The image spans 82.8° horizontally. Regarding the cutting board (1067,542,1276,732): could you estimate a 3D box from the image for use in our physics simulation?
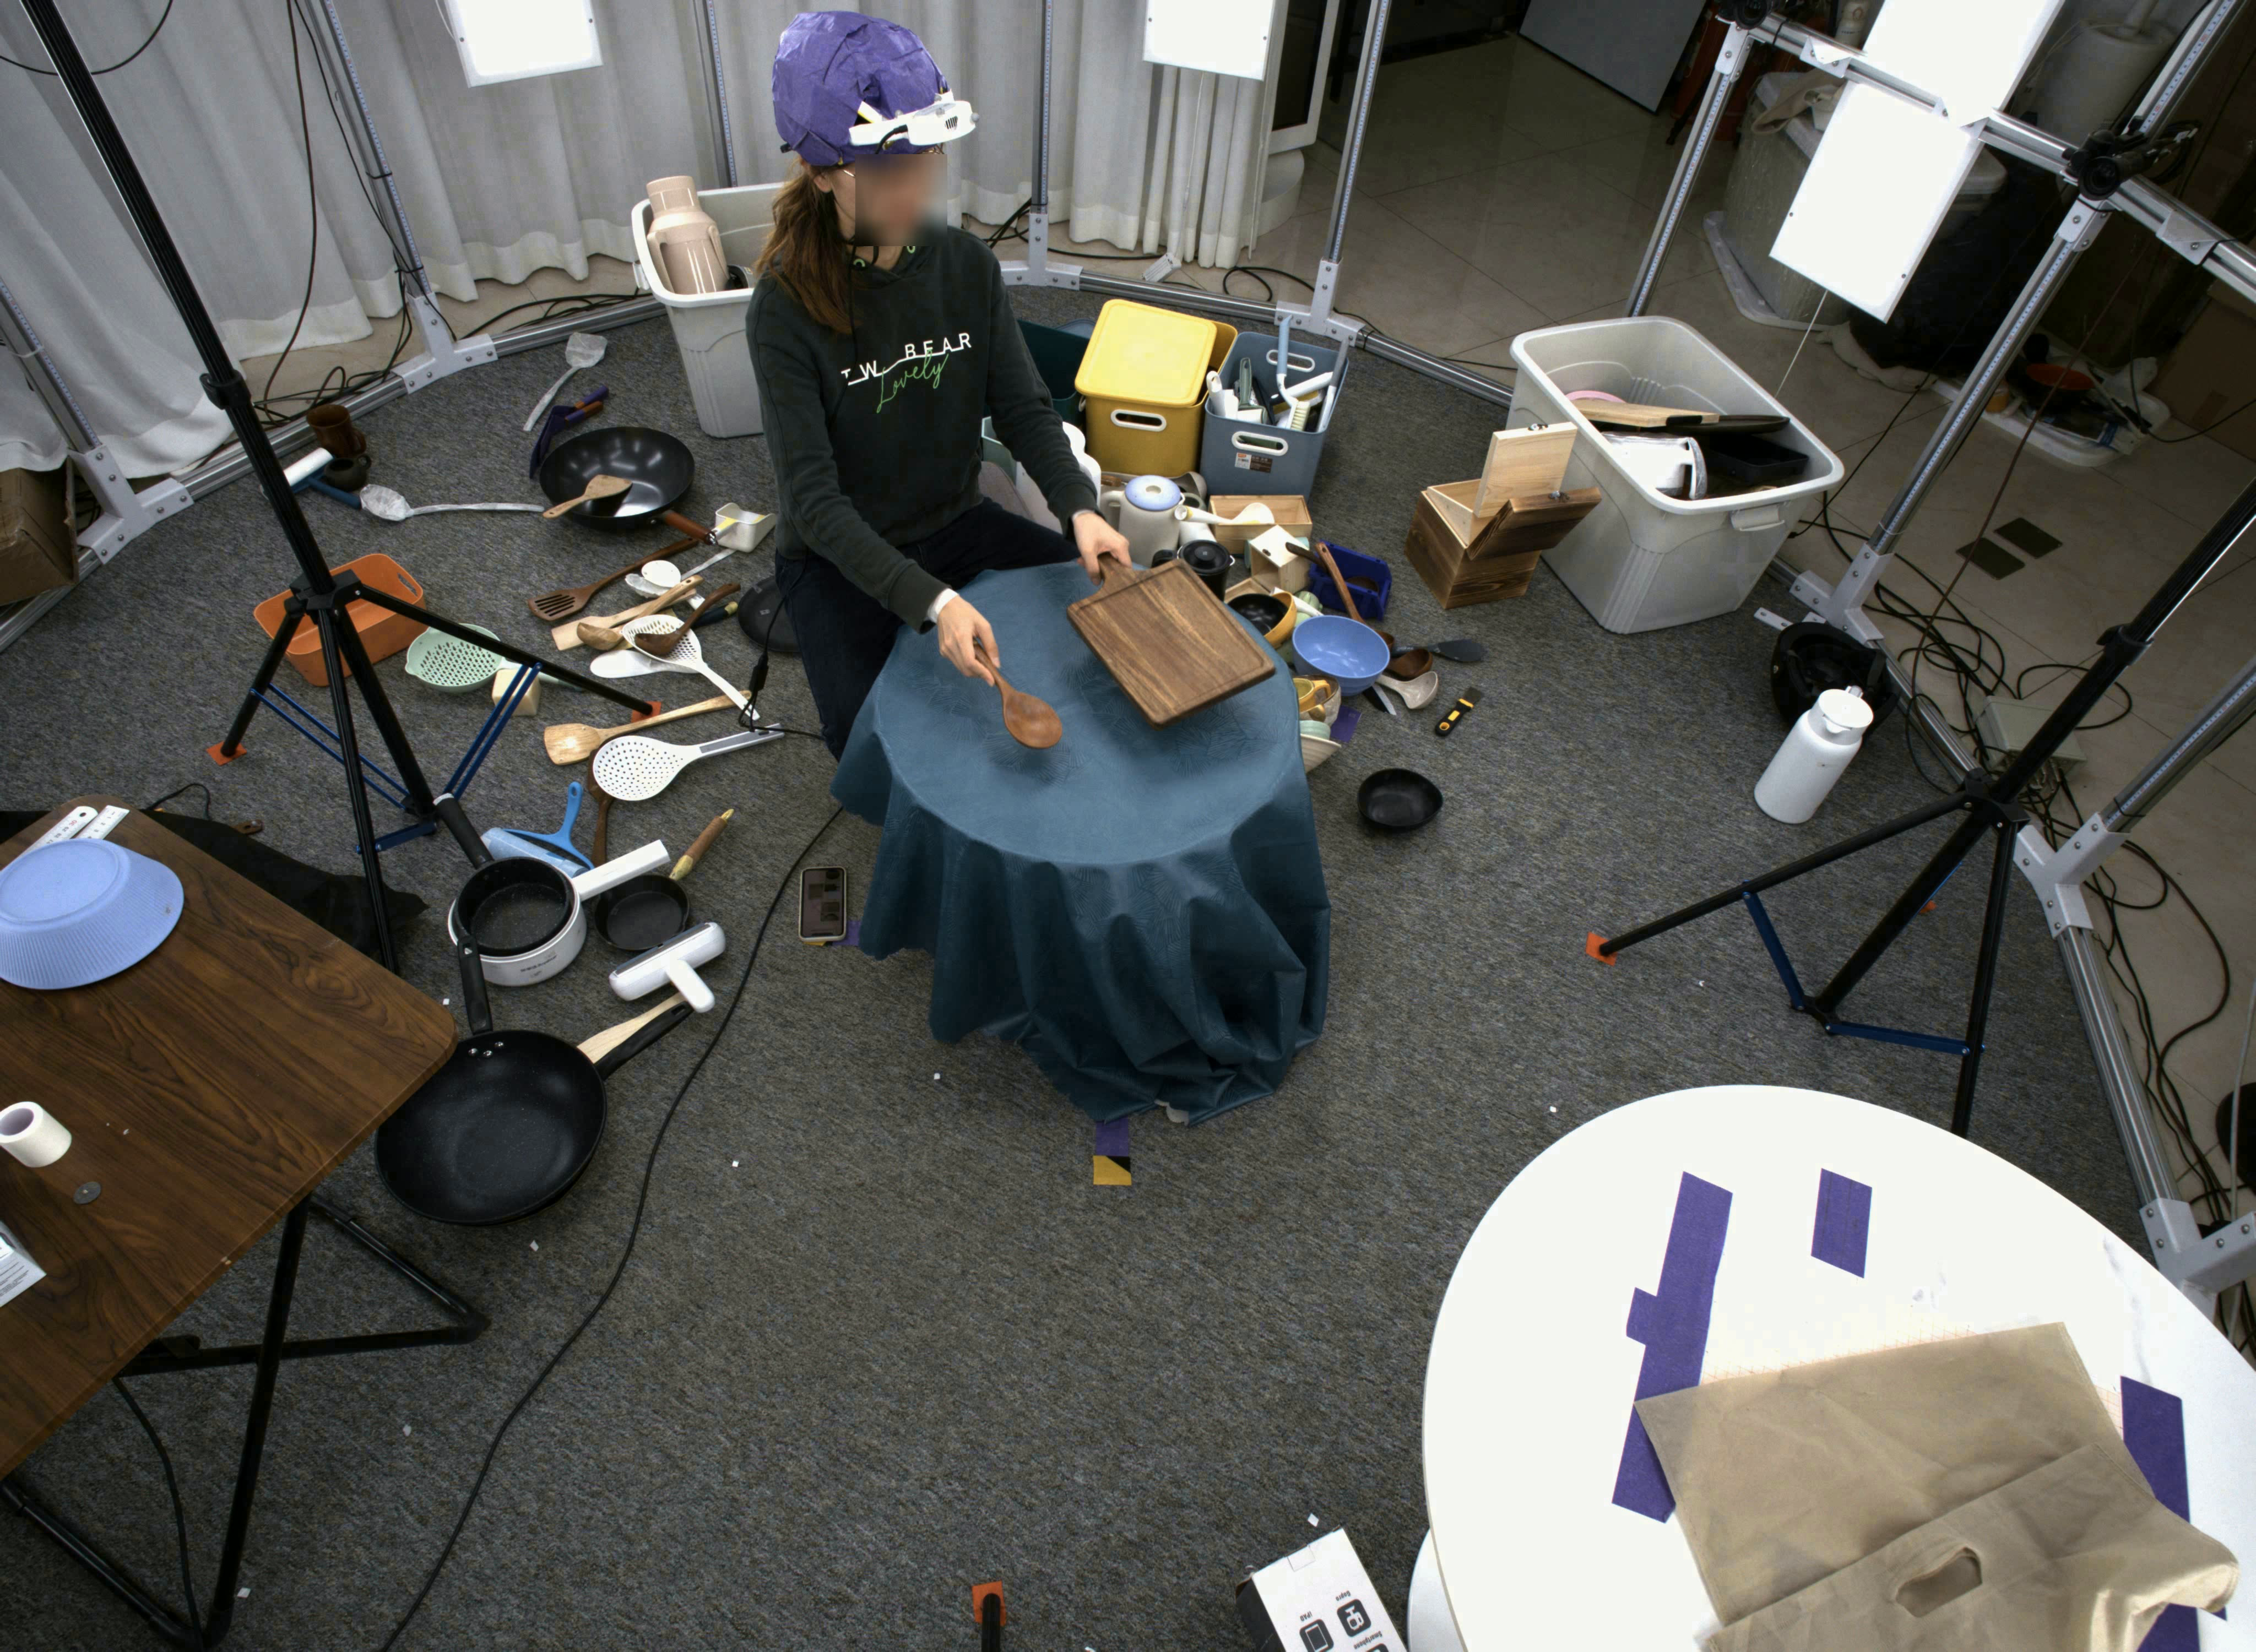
[{"bbox_3d":[0.034,-0.293,1.830,0.202,0.022,0.359,-27,57,-15],"label":"cutting board"}]

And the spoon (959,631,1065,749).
[{"bbox_3d":[-0.164,-0.186,1.745,0.076,0.017,0.219,-28,68,-27],"label":"spoon"}]
